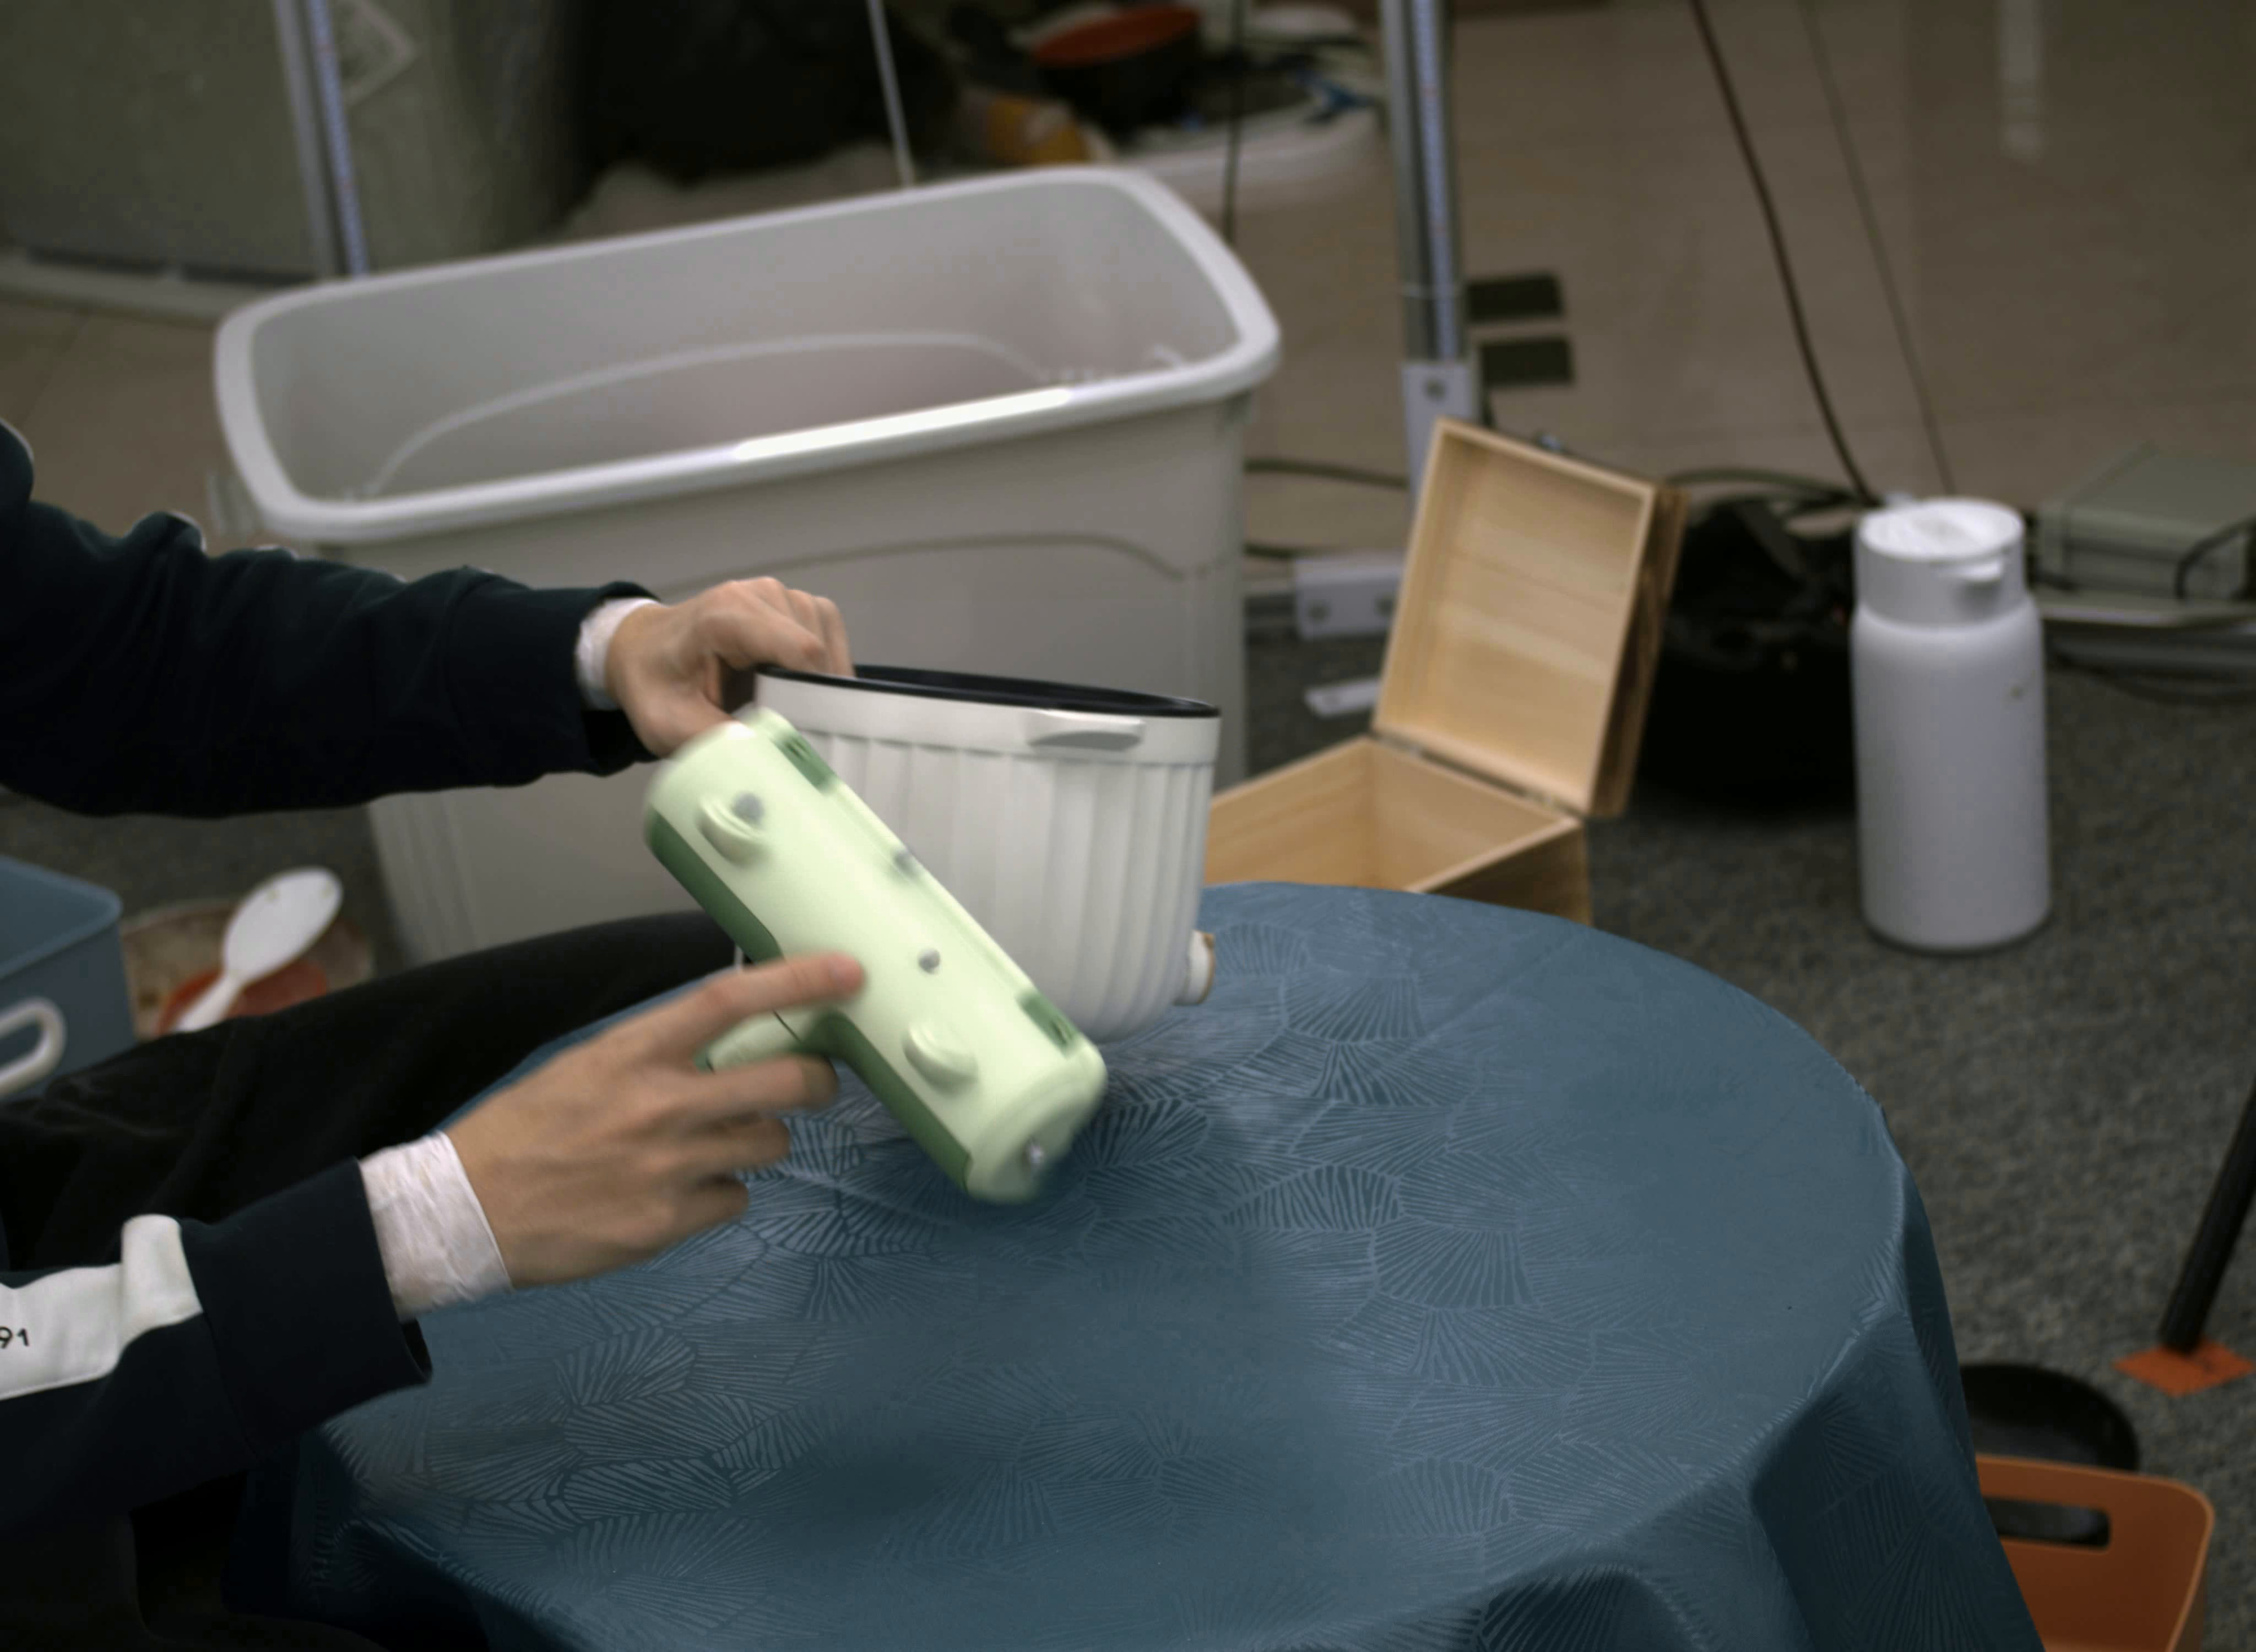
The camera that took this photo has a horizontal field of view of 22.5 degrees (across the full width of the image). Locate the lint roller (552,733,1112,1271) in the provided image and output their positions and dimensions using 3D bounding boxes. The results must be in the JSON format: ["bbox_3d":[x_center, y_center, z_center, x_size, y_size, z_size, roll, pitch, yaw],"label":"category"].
[{"bbox_3d":[-0.132,0.085,1.976,0.182,0.083,0.196,-38,68,-9],"label":"lint roller"}]

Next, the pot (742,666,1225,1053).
[{"bbox_3d":[-0.053,0.013,2.194,0.190,0.143,0.239,0,8,-25],"label":"pot"}]
